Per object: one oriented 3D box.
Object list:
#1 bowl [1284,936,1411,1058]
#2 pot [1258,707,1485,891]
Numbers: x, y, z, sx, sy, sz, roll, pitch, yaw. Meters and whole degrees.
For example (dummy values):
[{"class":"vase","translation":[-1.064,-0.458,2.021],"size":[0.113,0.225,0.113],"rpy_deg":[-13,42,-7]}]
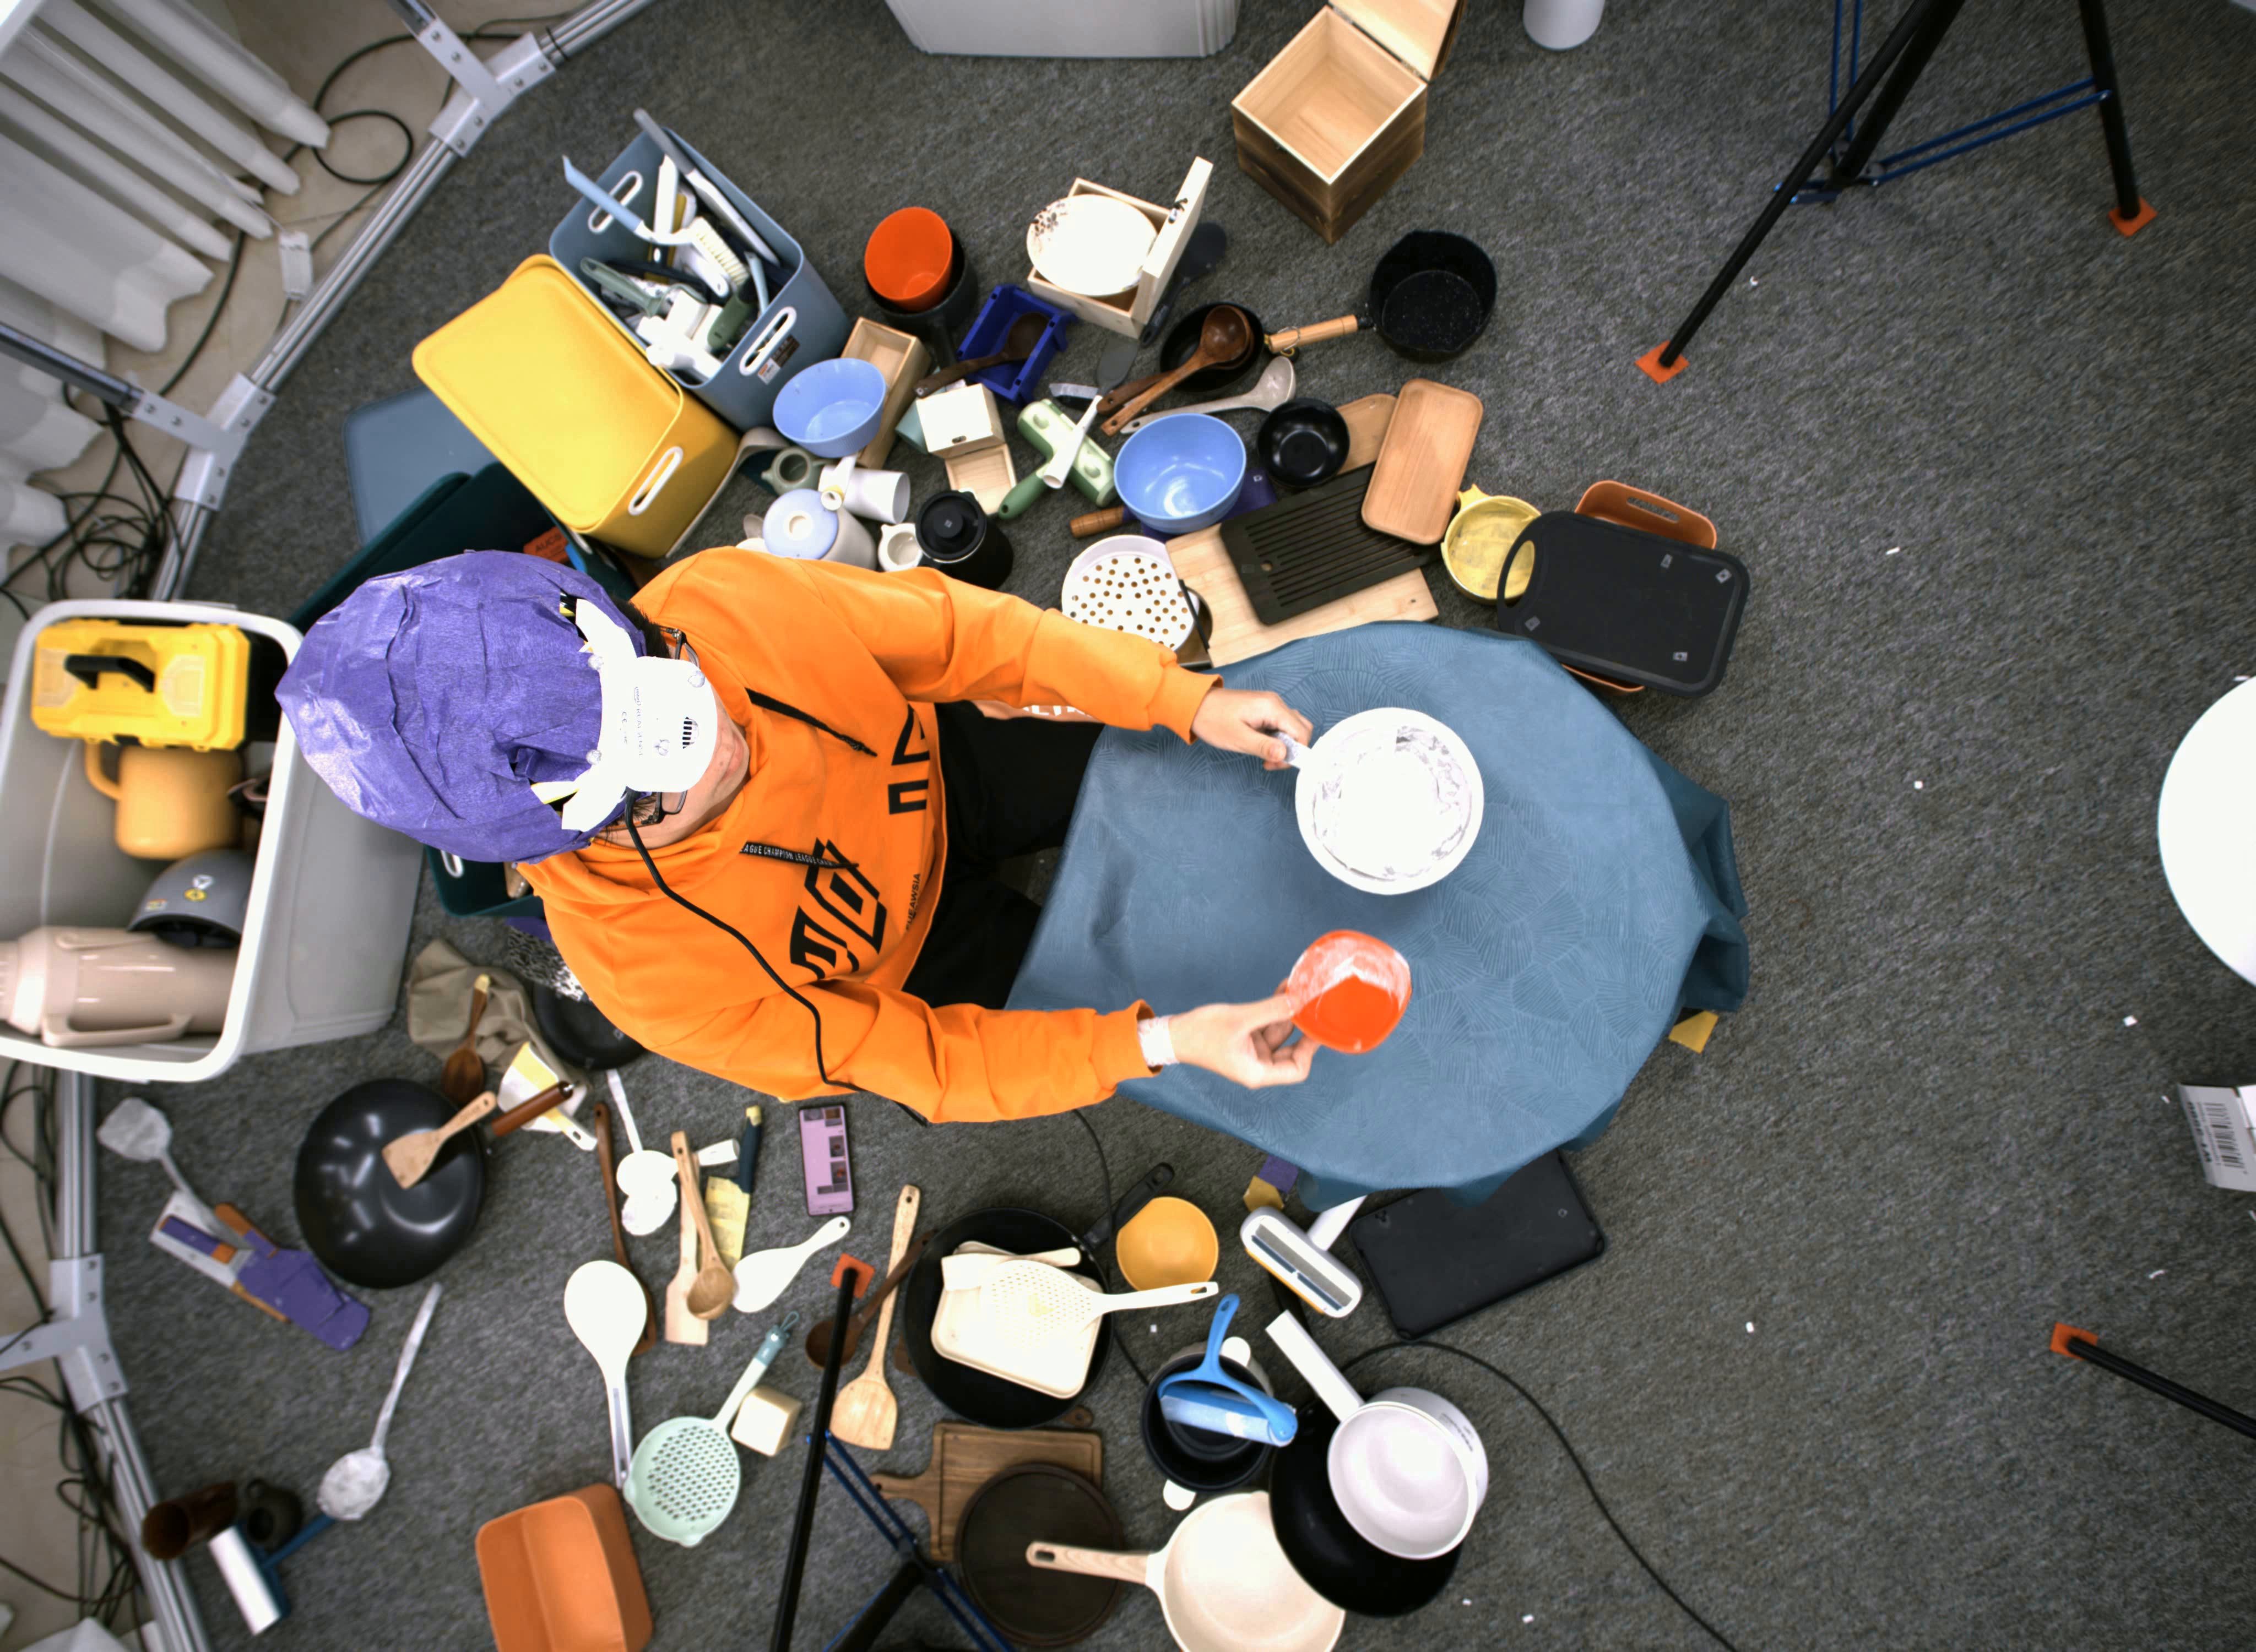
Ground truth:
[{"class":"bowl","translation":[0.208,0.164,1.293],"size":[0.119,0.052,0.116],"rpy_deg":[-8,64,15]},{"class":"pot","translation":[0.235,-0.039,1.374],"size":[0.233,0.136,0.180],"rpy_deg":[26,96,8]}]
